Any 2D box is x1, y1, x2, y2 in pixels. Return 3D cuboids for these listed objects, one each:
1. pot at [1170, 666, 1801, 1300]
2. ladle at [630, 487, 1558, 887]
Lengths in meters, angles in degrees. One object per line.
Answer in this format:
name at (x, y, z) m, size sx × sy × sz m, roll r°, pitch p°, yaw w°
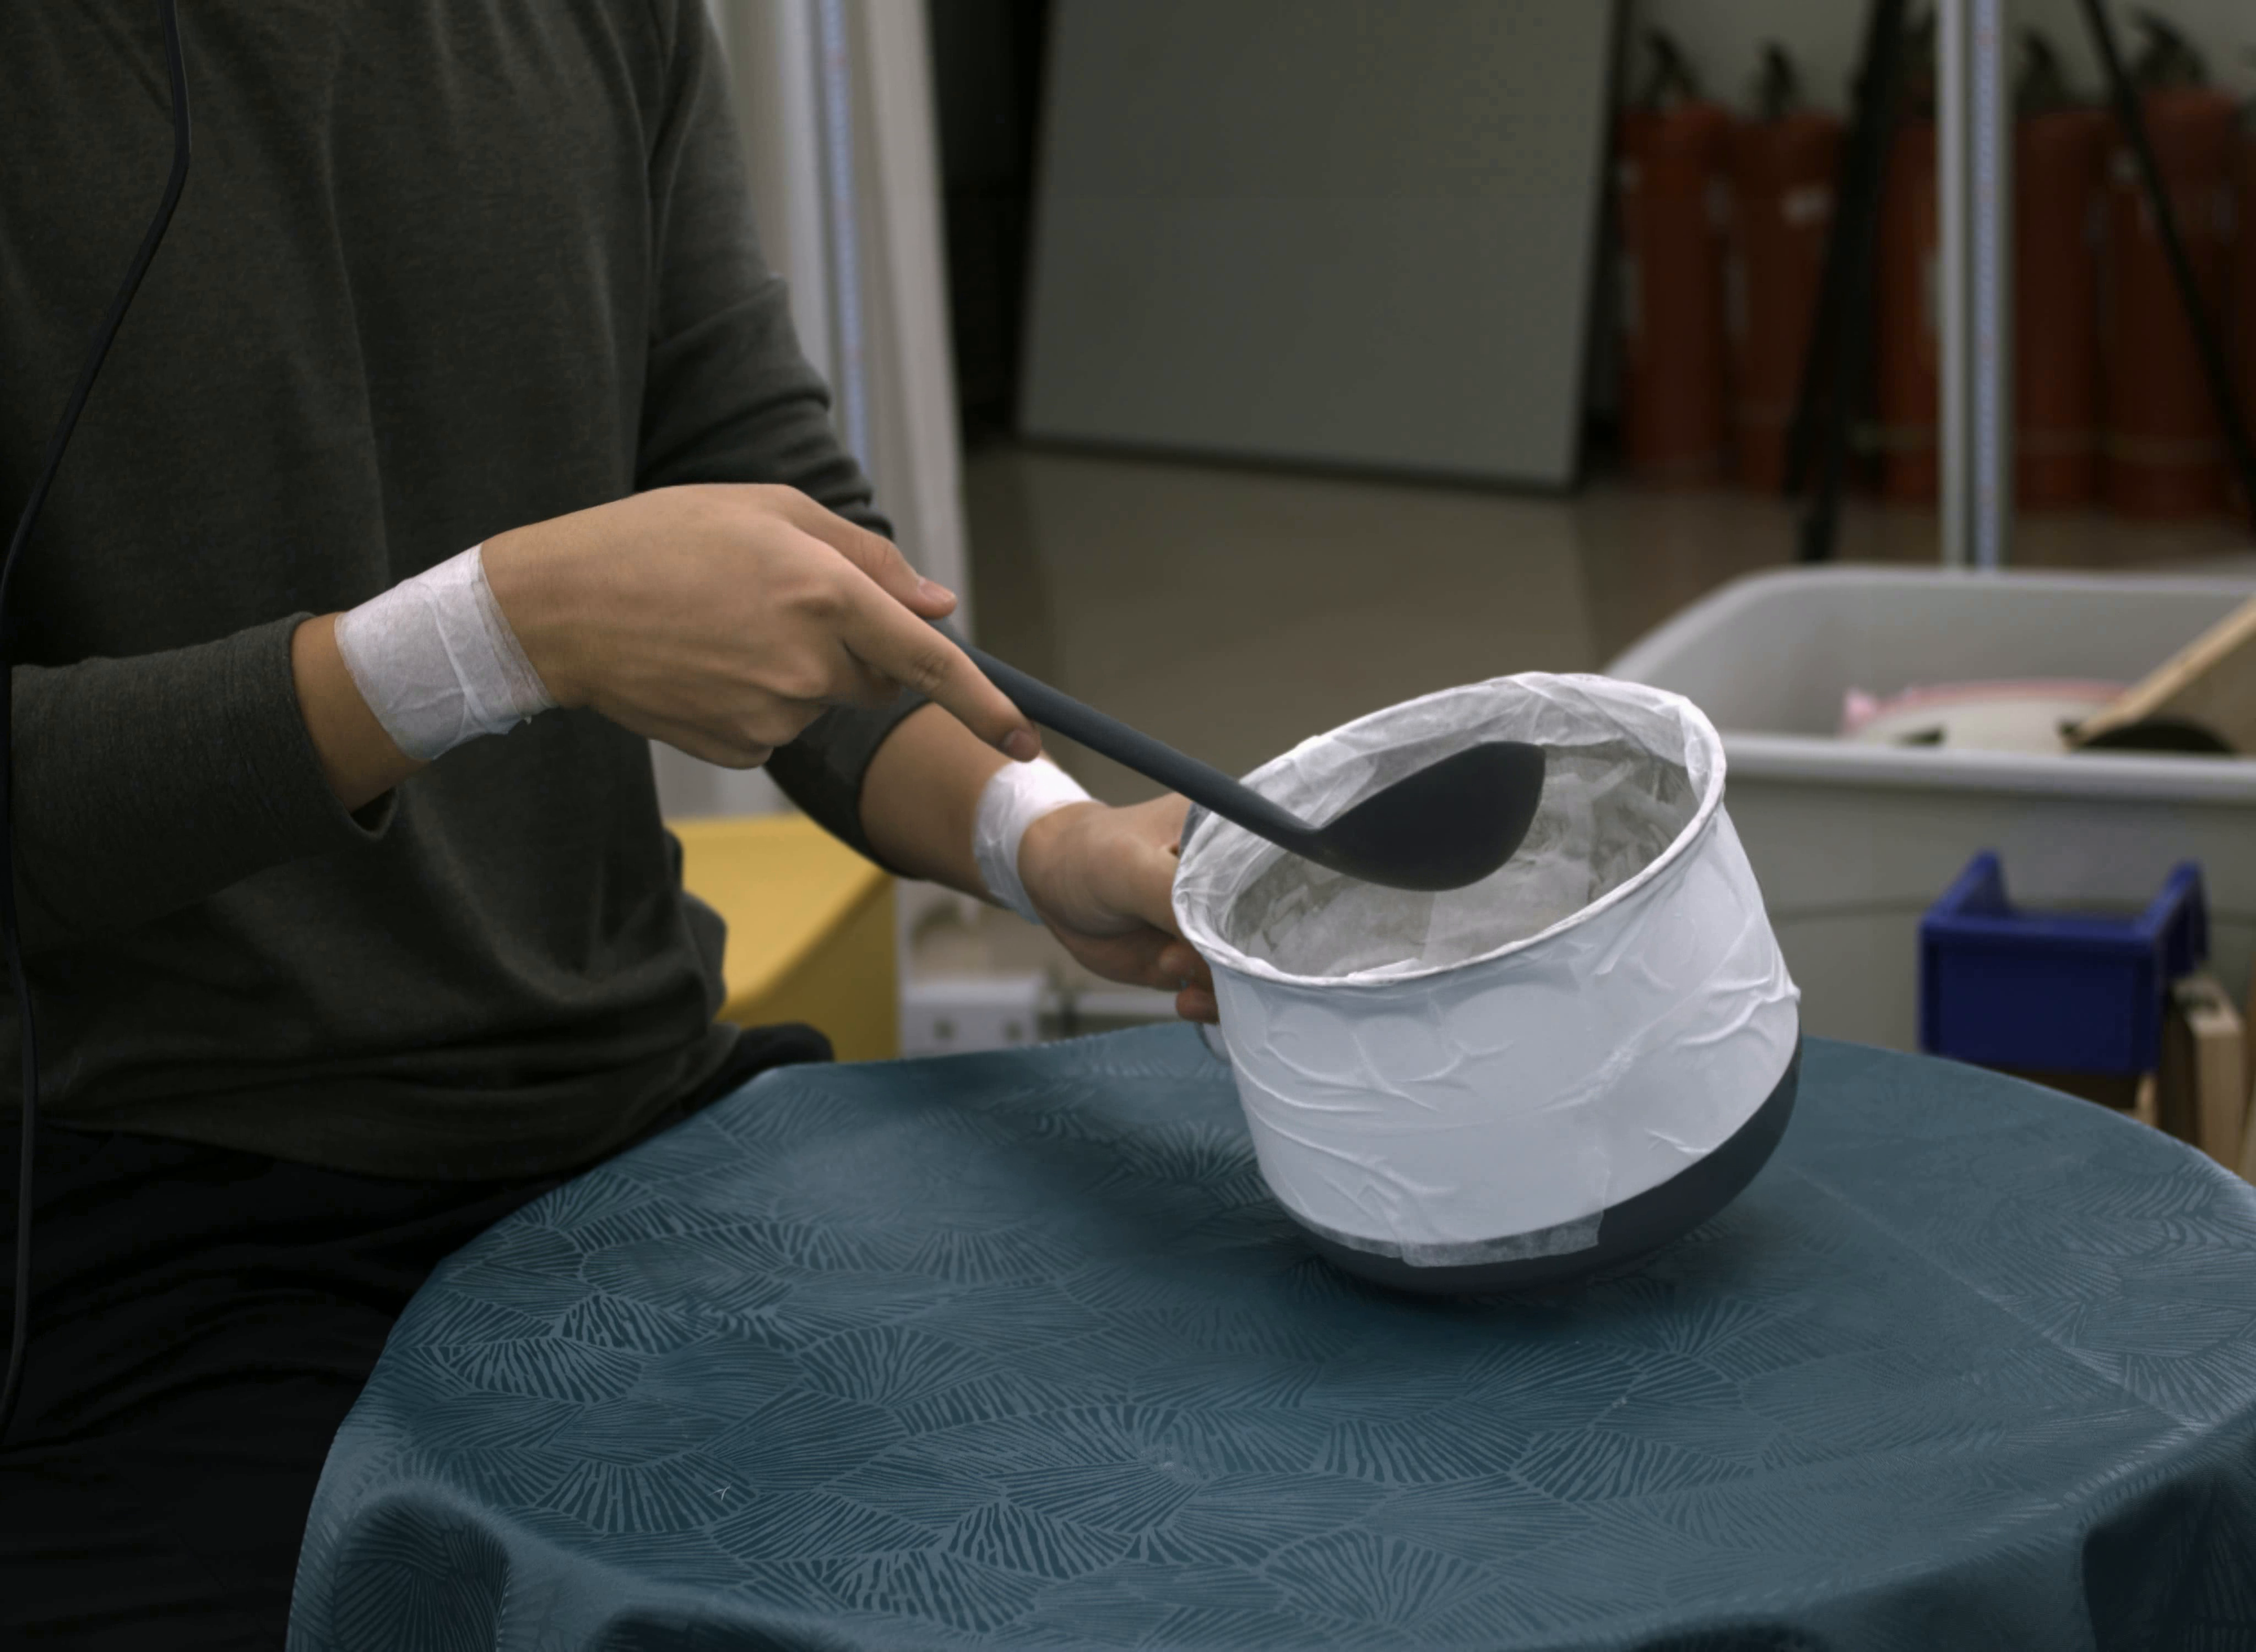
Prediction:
pot at (0.096, 0.047, 1.689) m, size 0.176 × 0.137 × 0.236 m, roll -36°, pitch 30°, yaw -32°
ladle at (-0.014, -0.060, 1.675) m, size 0.314 × 0.064 × 0.085 m, roll 26°, pitch 2°, yaw 18°
